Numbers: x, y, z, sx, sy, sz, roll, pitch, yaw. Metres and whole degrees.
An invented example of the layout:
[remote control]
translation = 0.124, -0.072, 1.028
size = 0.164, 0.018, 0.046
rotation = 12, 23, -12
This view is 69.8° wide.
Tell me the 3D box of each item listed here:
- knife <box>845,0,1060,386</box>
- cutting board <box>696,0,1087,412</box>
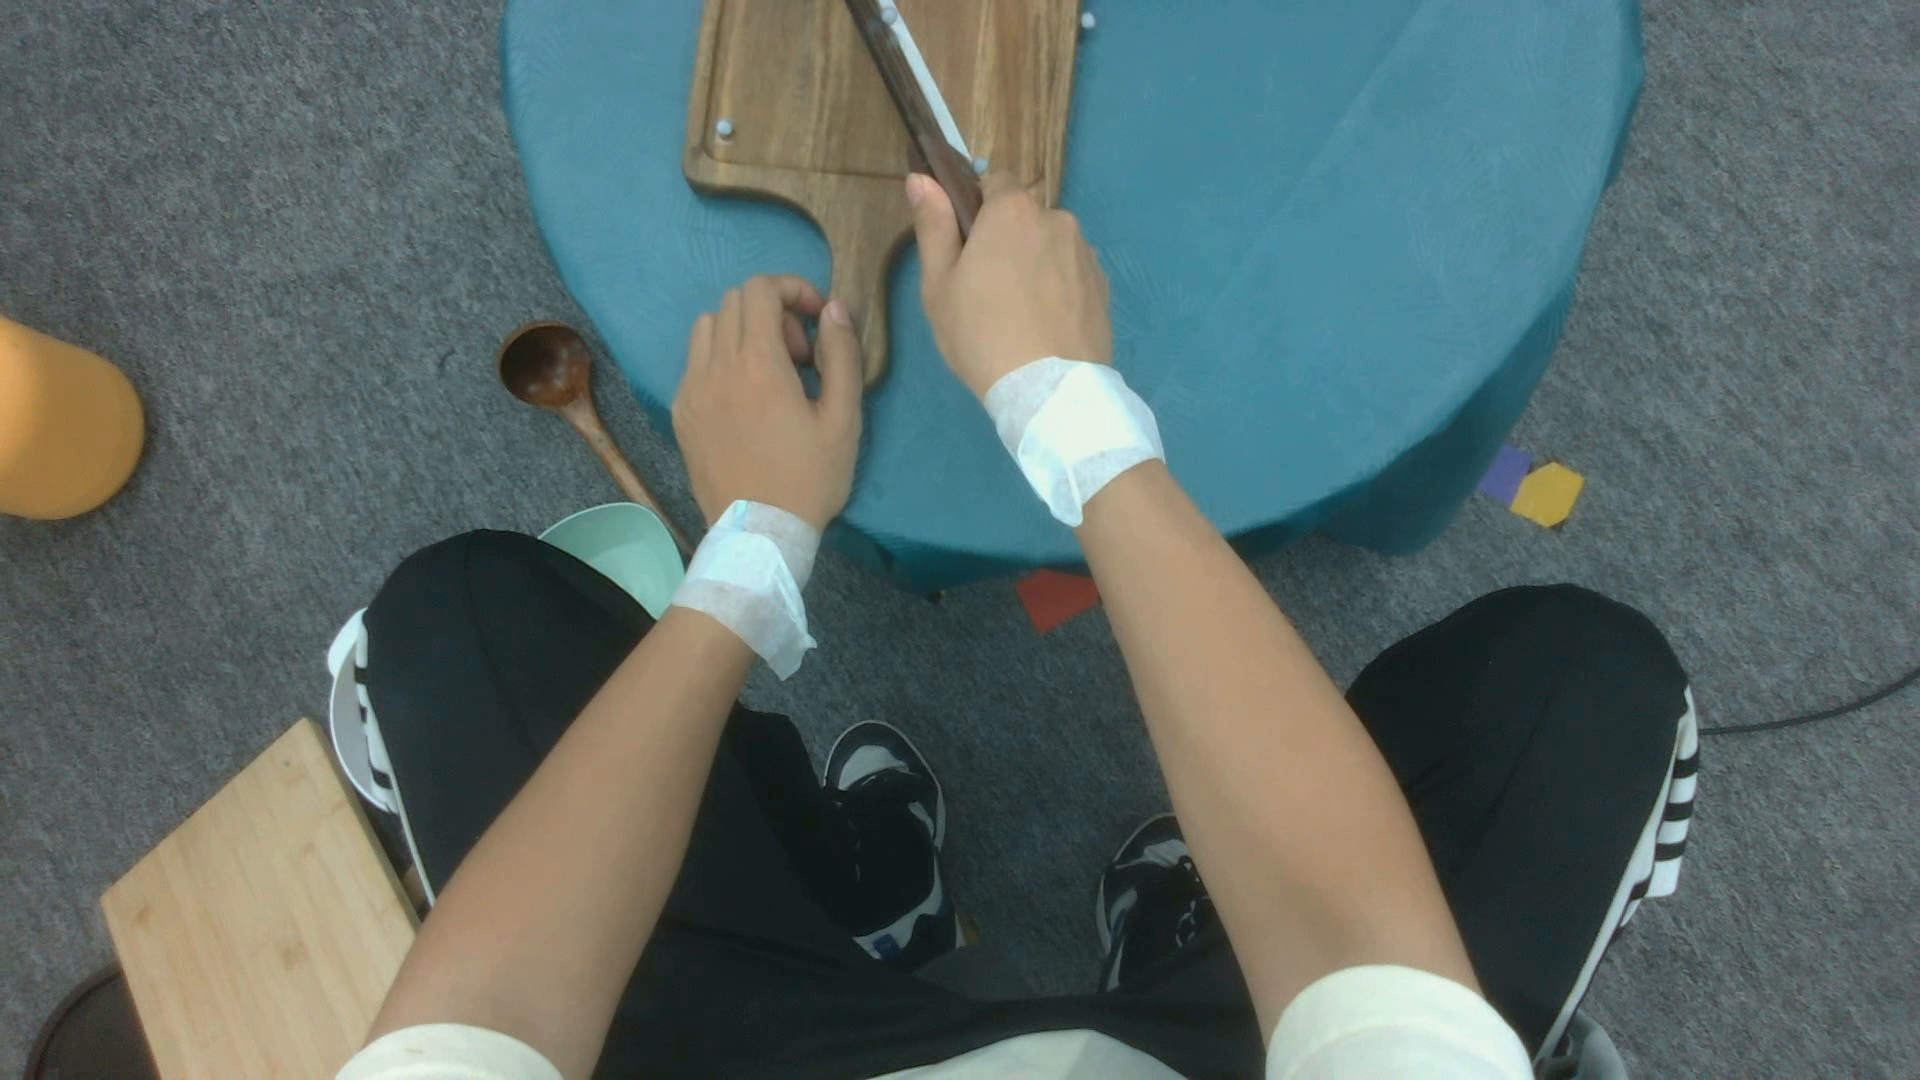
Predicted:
[knife]
translation = -0.011, -0.202, 0.685
size = 0.024, 0.068, 0.300
rotation = -32, 72, 24
[cutting board]
translation = -0.037, -0.242, 0.741
size = 0.201, 0.023, 0.352
rotation = 6, 82, 4
